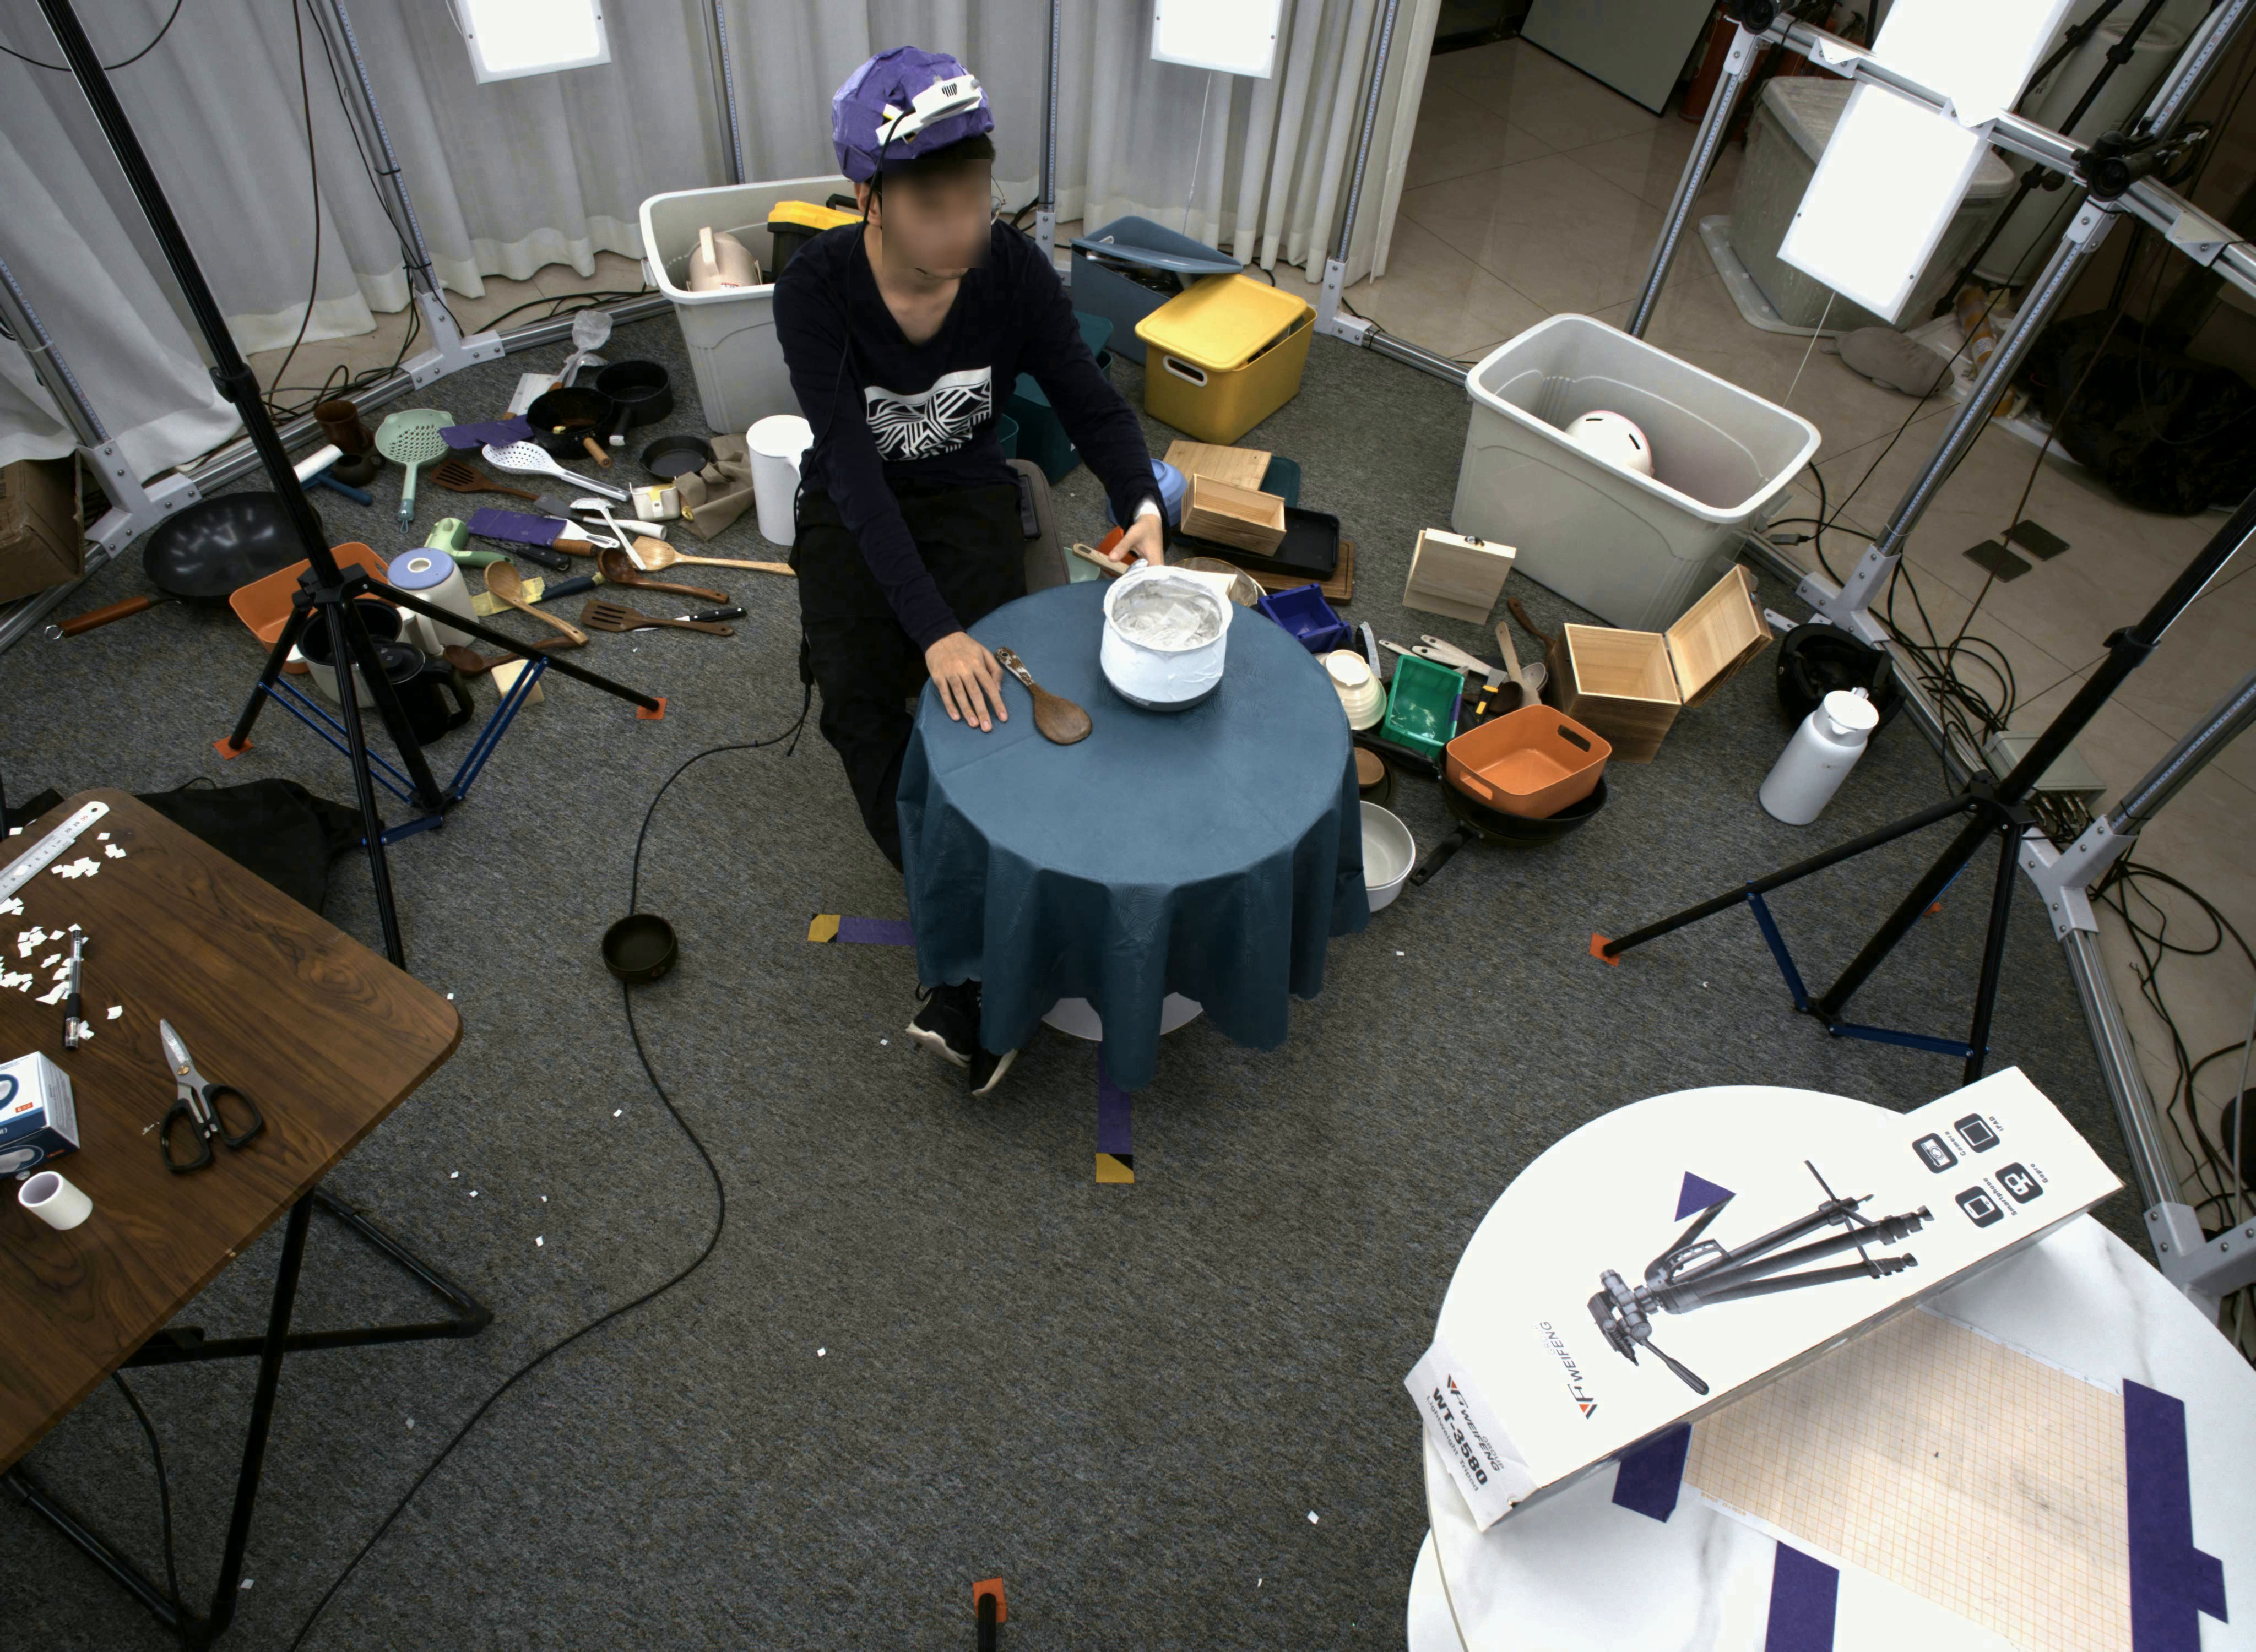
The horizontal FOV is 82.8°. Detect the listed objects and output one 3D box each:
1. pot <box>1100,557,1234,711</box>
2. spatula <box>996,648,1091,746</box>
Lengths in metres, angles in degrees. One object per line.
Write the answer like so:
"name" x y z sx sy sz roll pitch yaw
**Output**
"pot" 0.041 -0.282 1.824 0.179 0.133 0.239 -13 53 -18
"spatula" -0.127 -0.189 1.819 0.072 0.009 0.220 -23 54 -24
